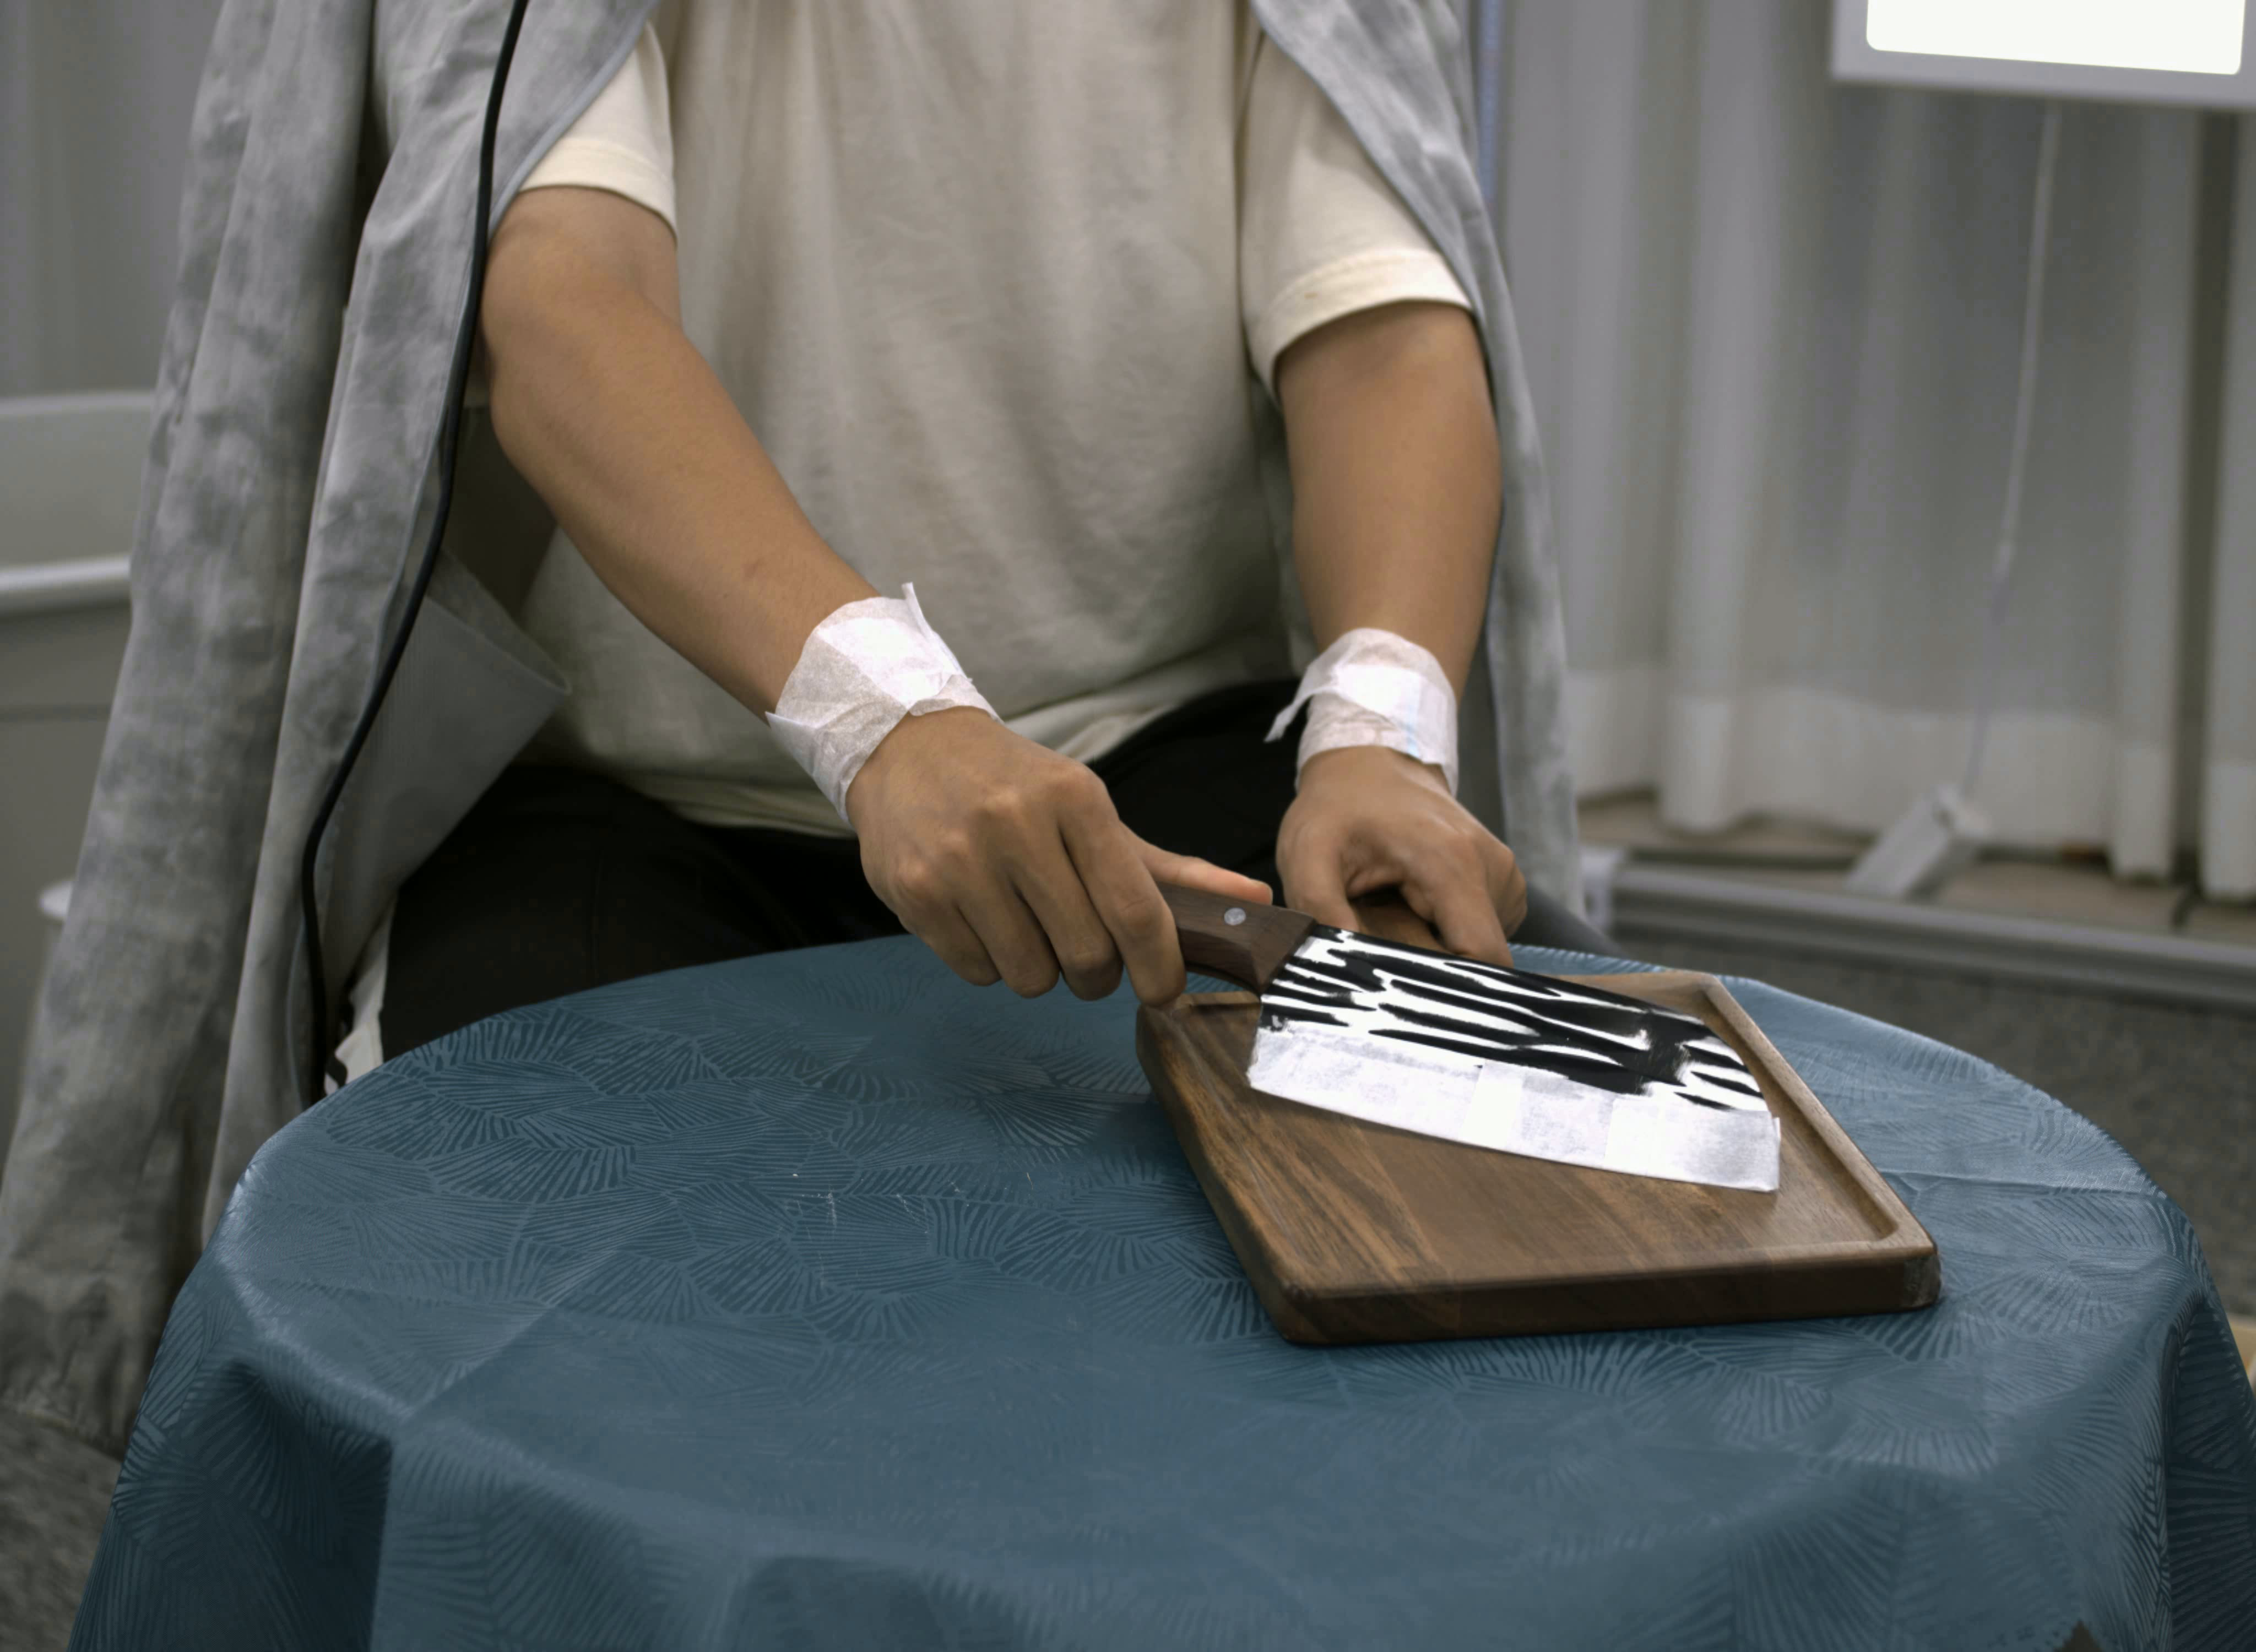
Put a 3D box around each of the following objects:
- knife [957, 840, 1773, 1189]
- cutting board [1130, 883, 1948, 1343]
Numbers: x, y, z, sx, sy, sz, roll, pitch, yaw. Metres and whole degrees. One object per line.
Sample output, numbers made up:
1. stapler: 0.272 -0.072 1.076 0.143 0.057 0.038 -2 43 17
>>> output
1. knife: 0.068 0.059 1.645 0.296 0.024 0.068 14 55 23
2. cutting board: 0.111 0.082 1.670 0.201 0.023 0.349 -2 18 -11
